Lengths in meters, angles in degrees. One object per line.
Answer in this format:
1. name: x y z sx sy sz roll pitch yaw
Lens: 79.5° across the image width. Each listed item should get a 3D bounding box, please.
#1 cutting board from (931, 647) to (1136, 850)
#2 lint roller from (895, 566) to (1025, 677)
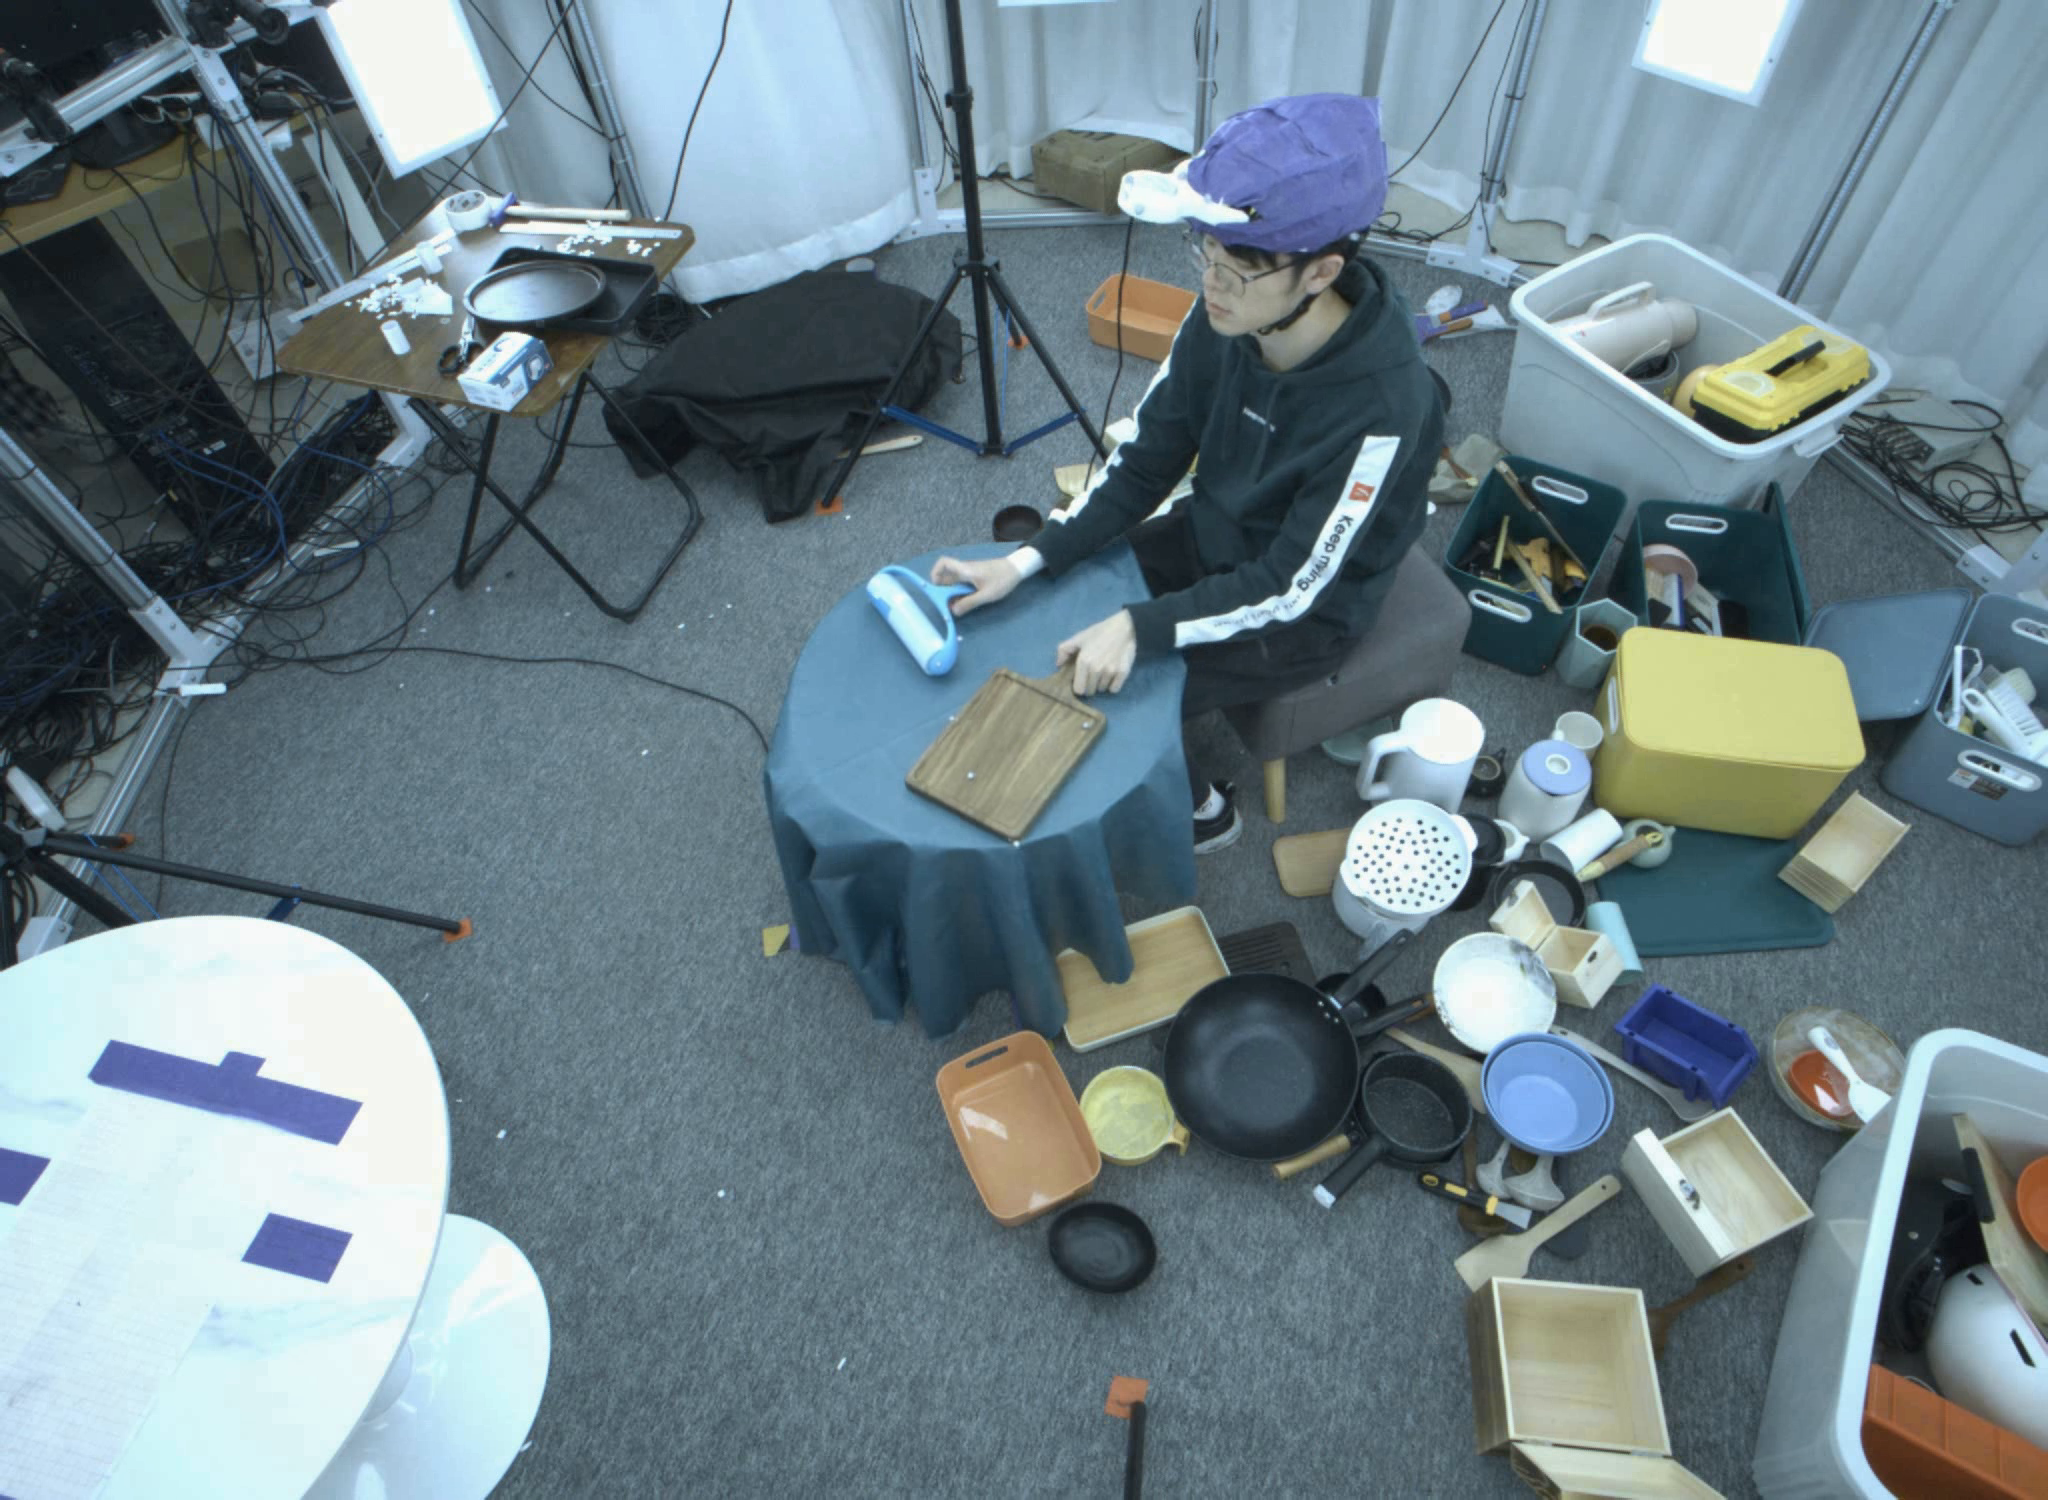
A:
1. cutting board: 0.043 -0.026 1.786 0.198 0.023 0.353 28 60 19
2. lint roller: -0.082 -0.224 1.909 0.181 0.069 0.224 -30 57 -16
